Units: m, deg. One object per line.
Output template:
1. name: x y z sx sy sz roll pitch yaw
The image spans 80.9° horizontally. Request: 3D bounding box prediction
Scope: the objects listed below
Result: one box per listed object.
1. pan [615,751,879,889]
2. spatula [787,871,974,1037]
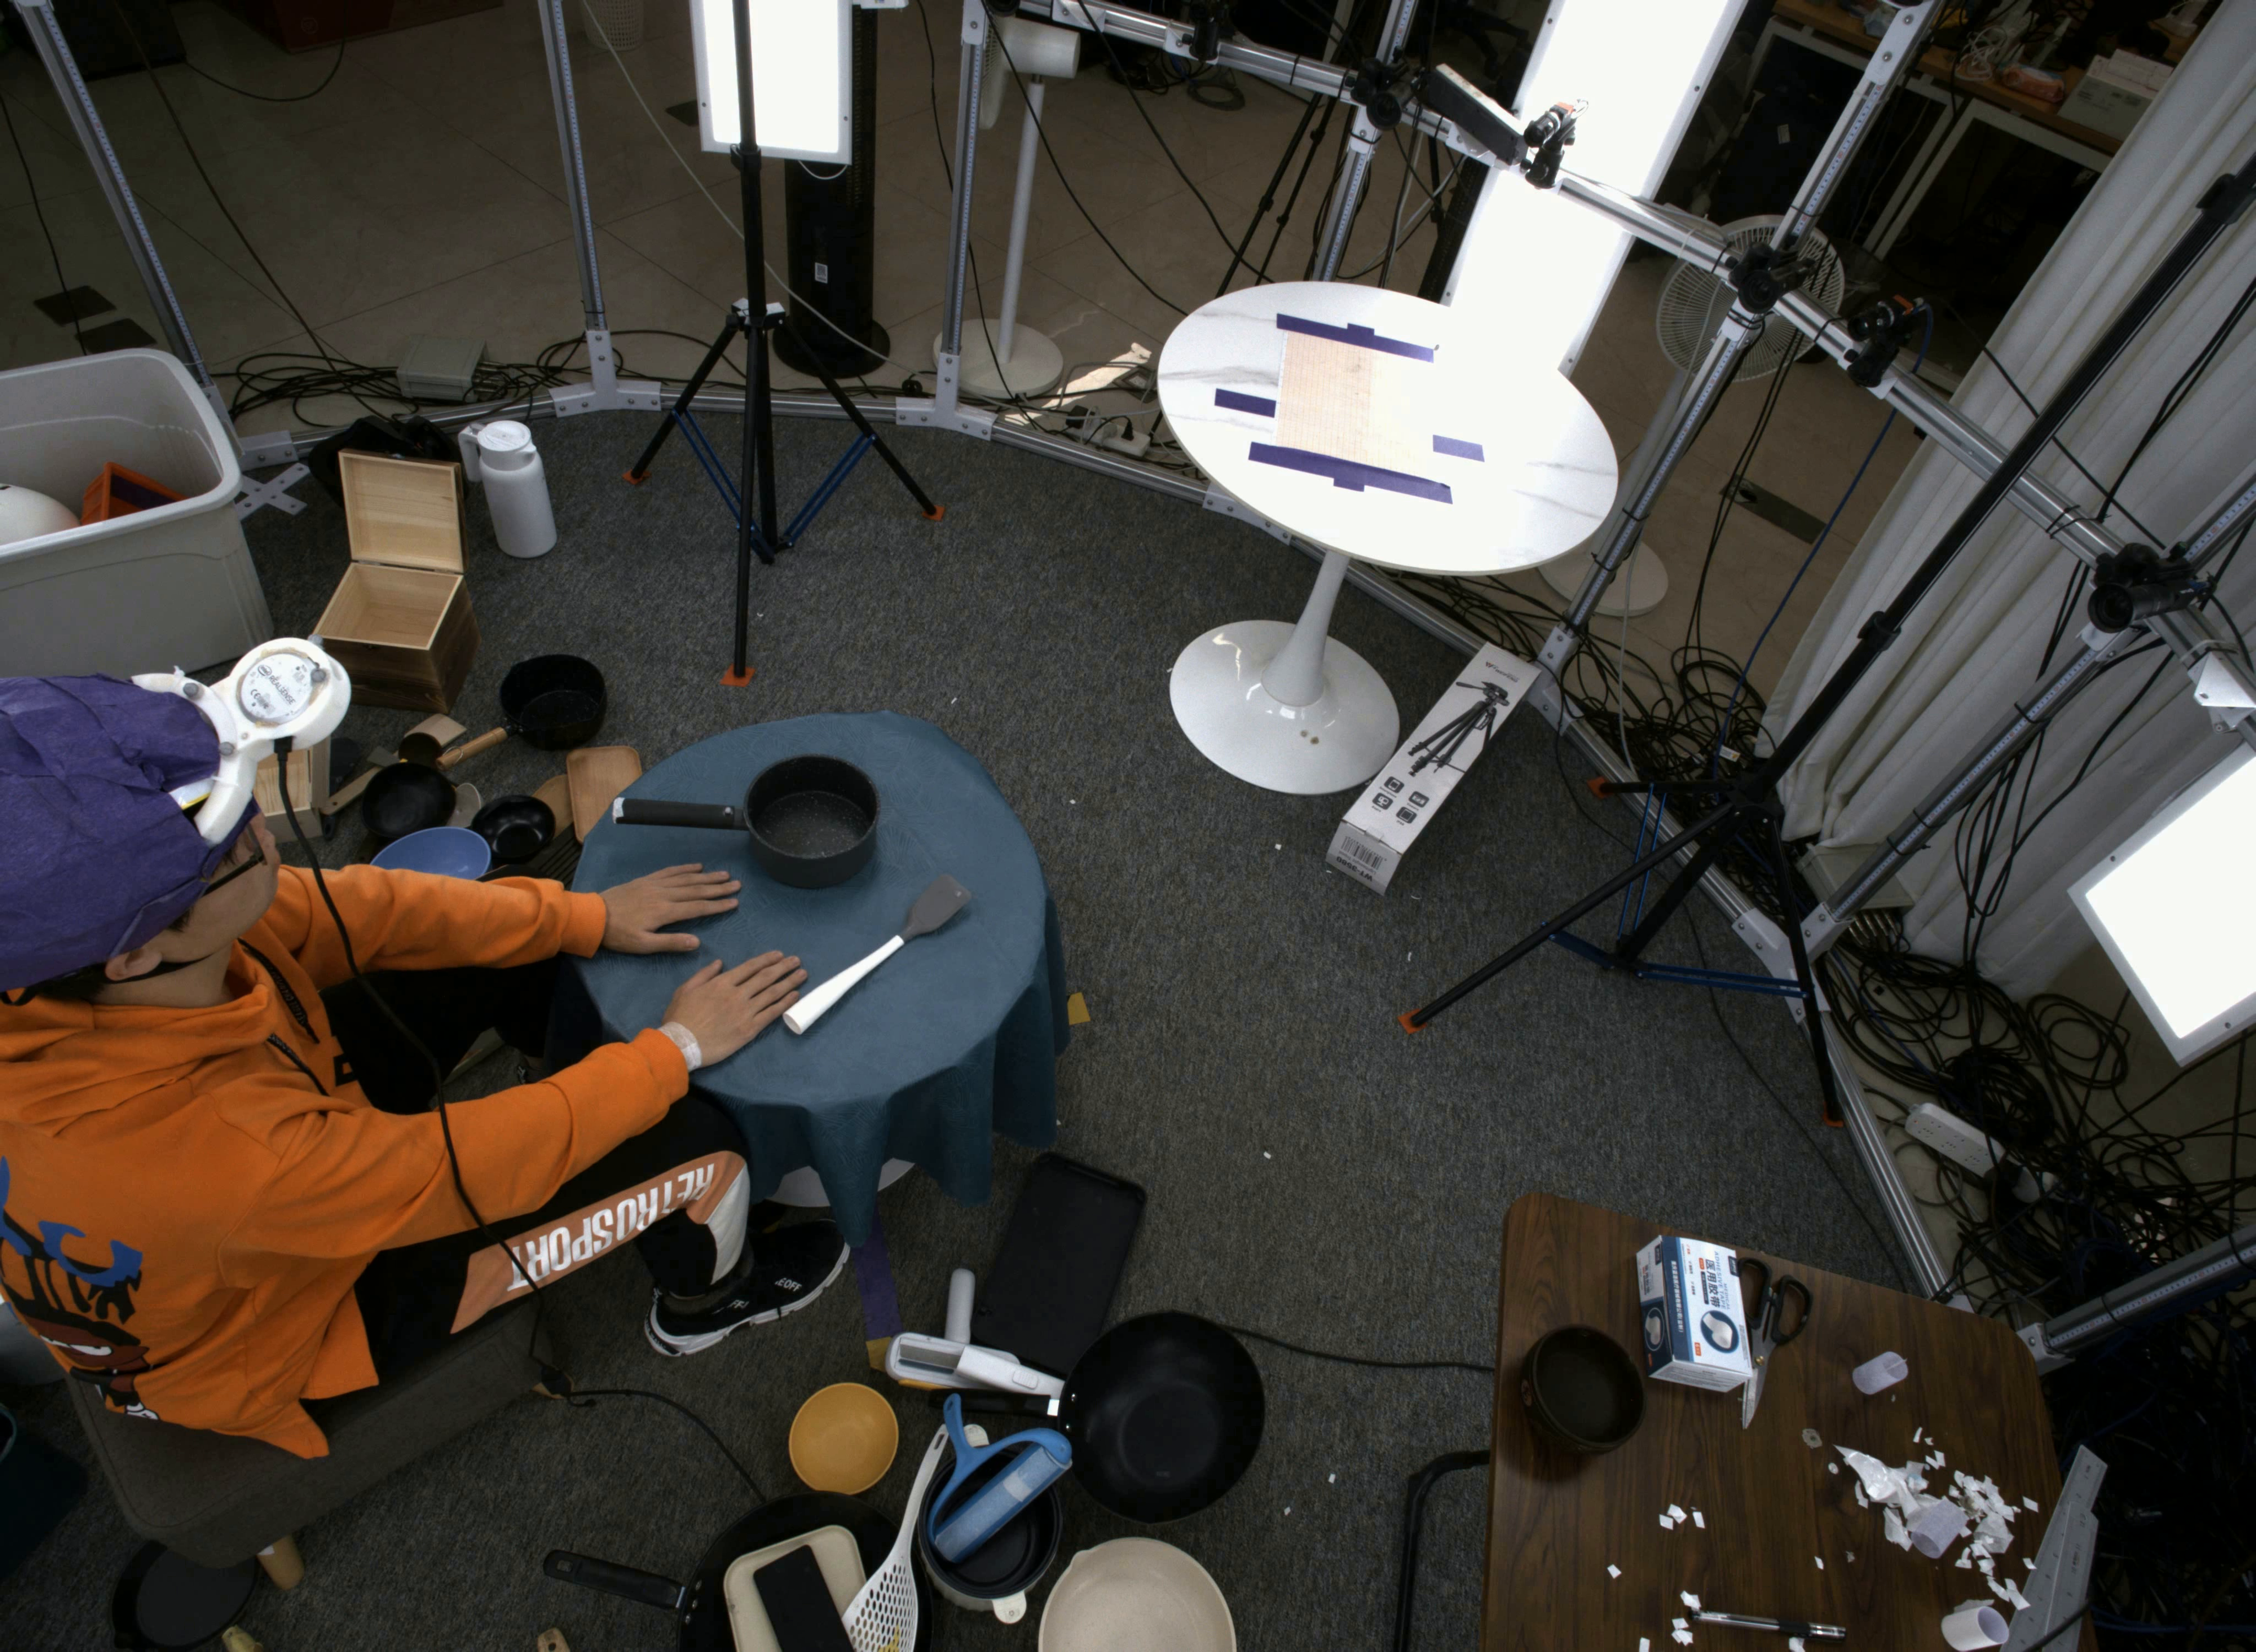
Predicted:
1. pan: -0.485 -0.008 1.649 0.330 0.088 0.168 1 52 -16
2. spatula: -0.305 0.154 1.609 0.057 0.033 0.287 35 54 17
